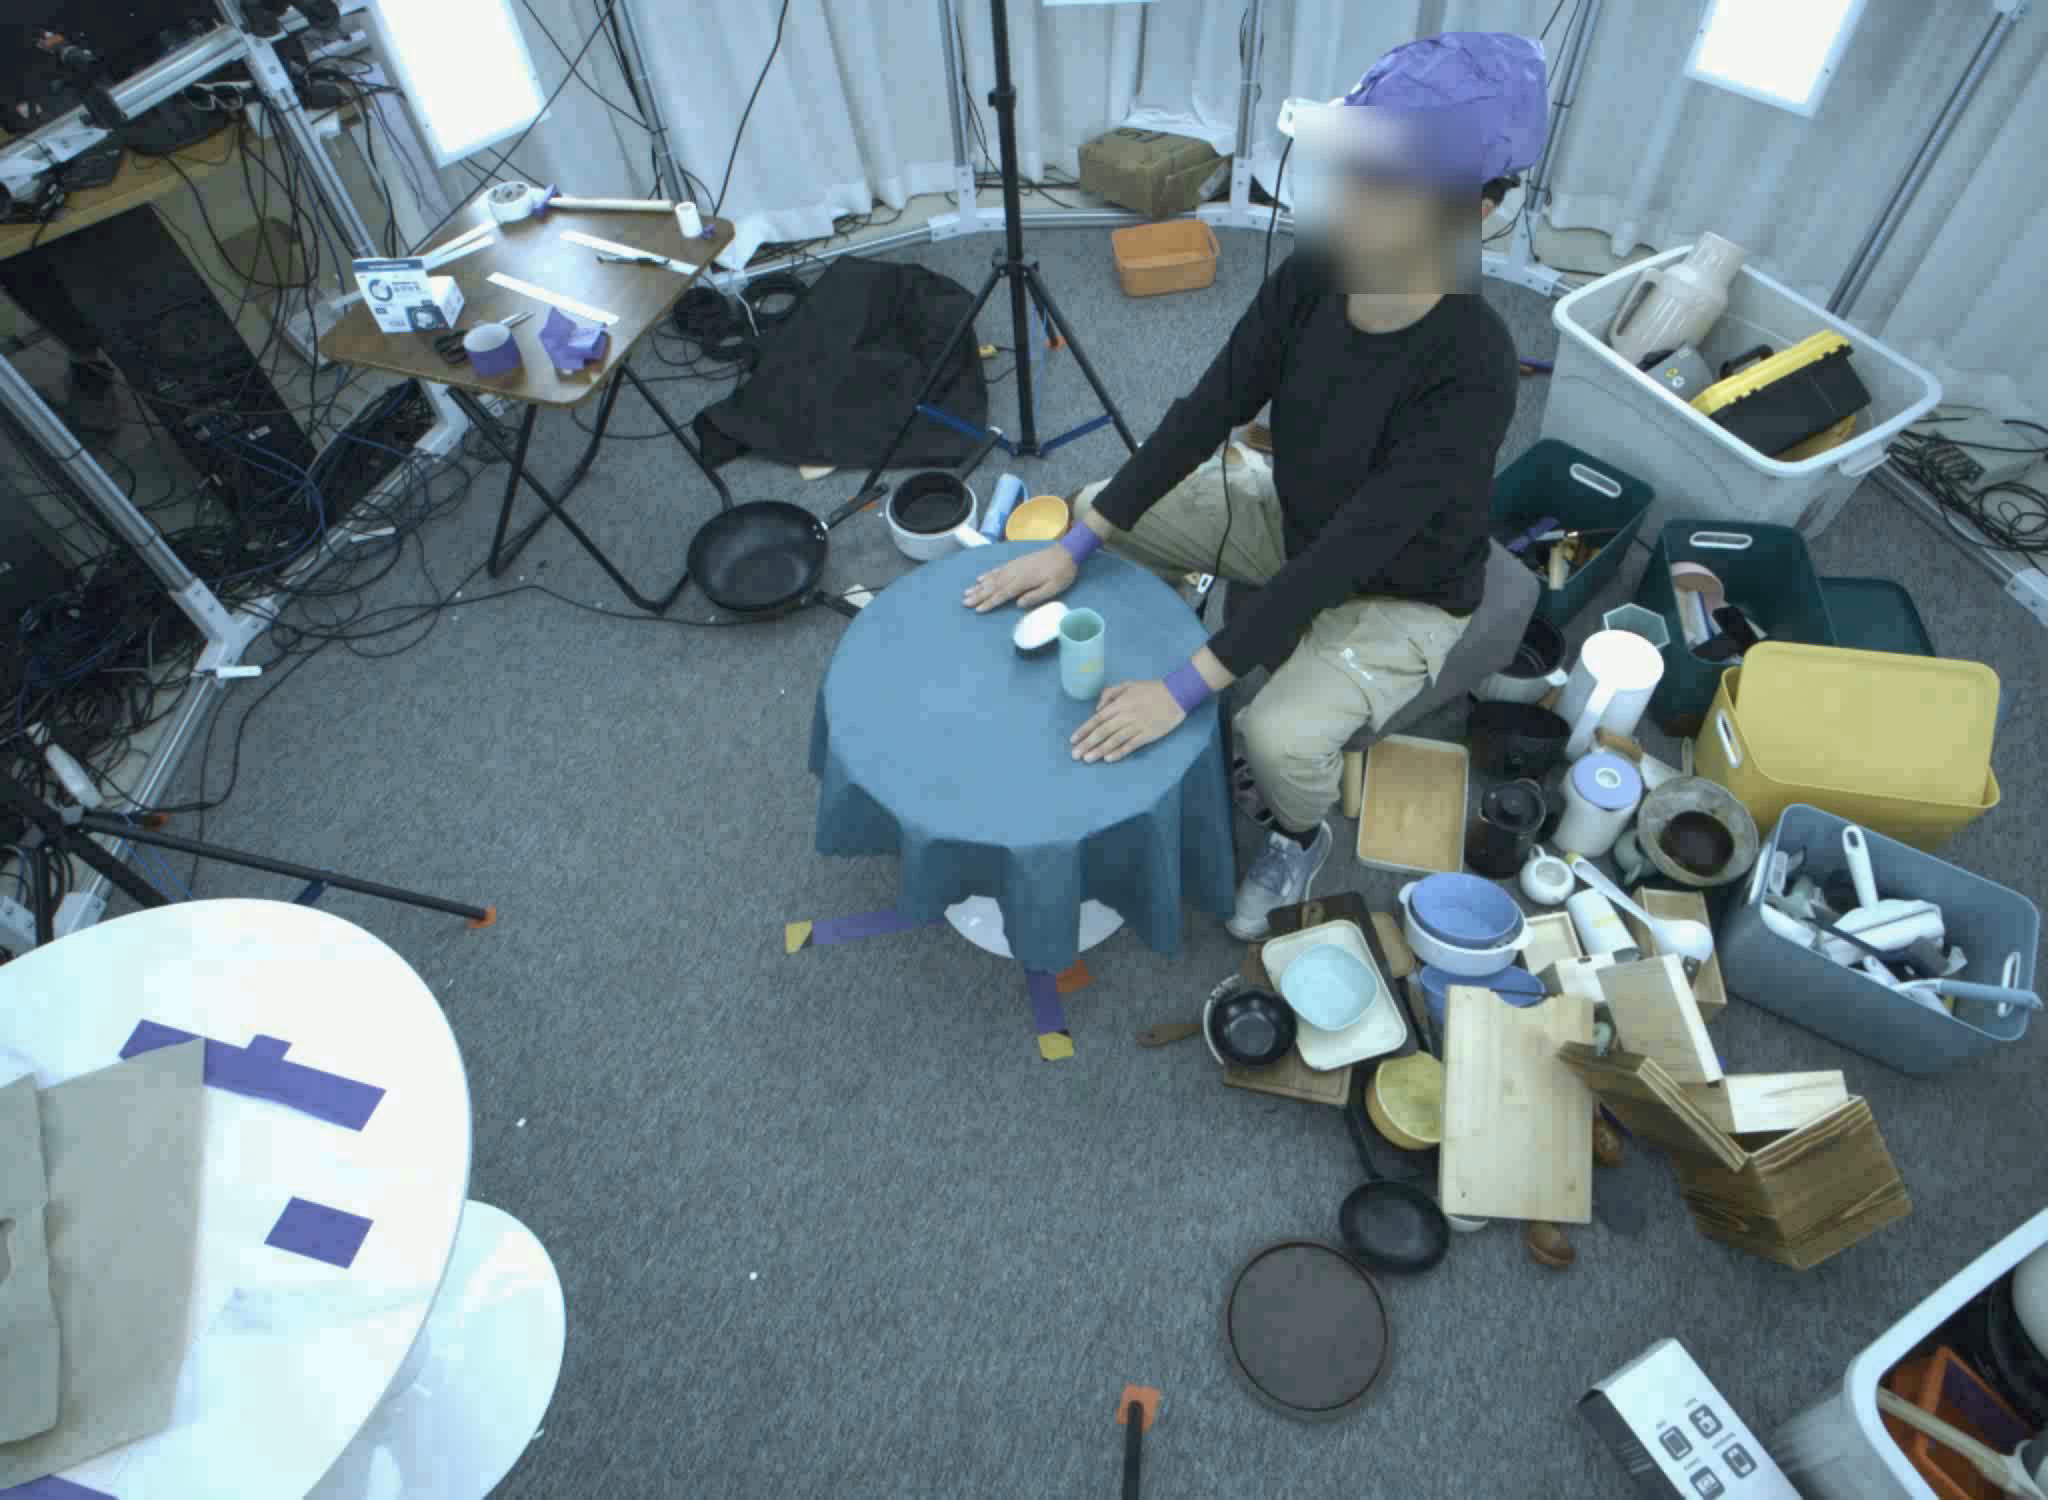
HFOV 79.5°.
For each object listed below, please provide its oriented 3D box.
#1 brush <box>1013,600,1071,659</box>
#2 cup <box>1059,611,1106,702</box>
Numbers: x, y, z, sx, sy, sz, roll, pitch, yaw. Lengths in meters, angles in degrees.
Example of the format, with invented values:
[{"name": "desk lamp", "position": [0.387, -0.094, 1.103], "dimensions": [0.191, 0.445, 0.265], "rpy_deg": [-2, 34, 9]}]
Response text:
[{"name": "brush", "position": [0.027, -0.192, 1.879], "dimensions": [0.100, 0.073, 0.049], "rpy_deg": [-29, 59, -16]}, {"name": "cup", "position": [0.086, -0.138, 1.809], "dimensions": [0.066, 0.134, 0.066], "rpy_deg": [-2, 54, 4]}]
